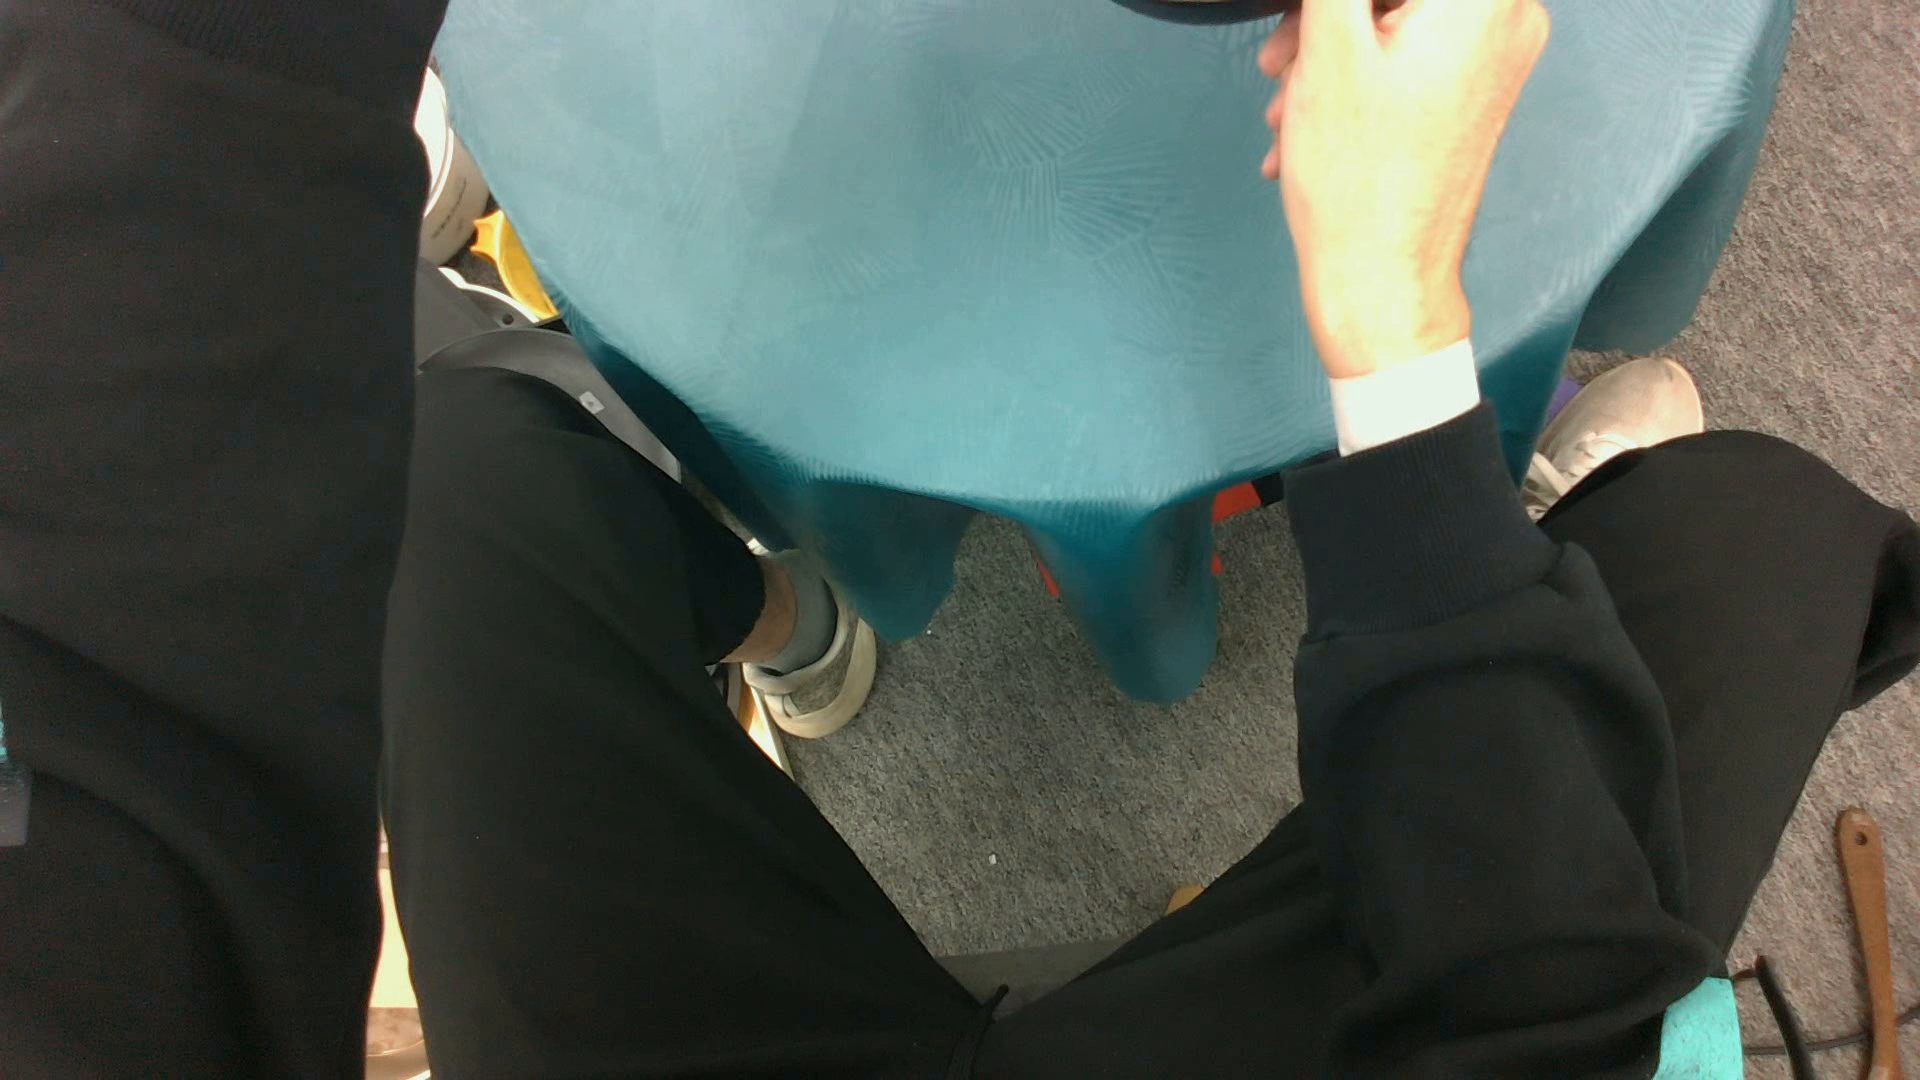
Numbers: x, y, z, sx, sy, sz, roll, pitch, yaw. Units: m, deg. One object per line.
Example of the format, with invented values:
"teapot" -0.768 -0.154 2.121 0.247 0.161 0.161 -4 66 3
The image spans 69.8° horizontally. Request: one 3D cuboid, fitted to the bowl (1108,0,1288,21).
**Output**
"bowl" 0.086 -0.235 0.468 0.140 0.050 0.140 -2 81 13
